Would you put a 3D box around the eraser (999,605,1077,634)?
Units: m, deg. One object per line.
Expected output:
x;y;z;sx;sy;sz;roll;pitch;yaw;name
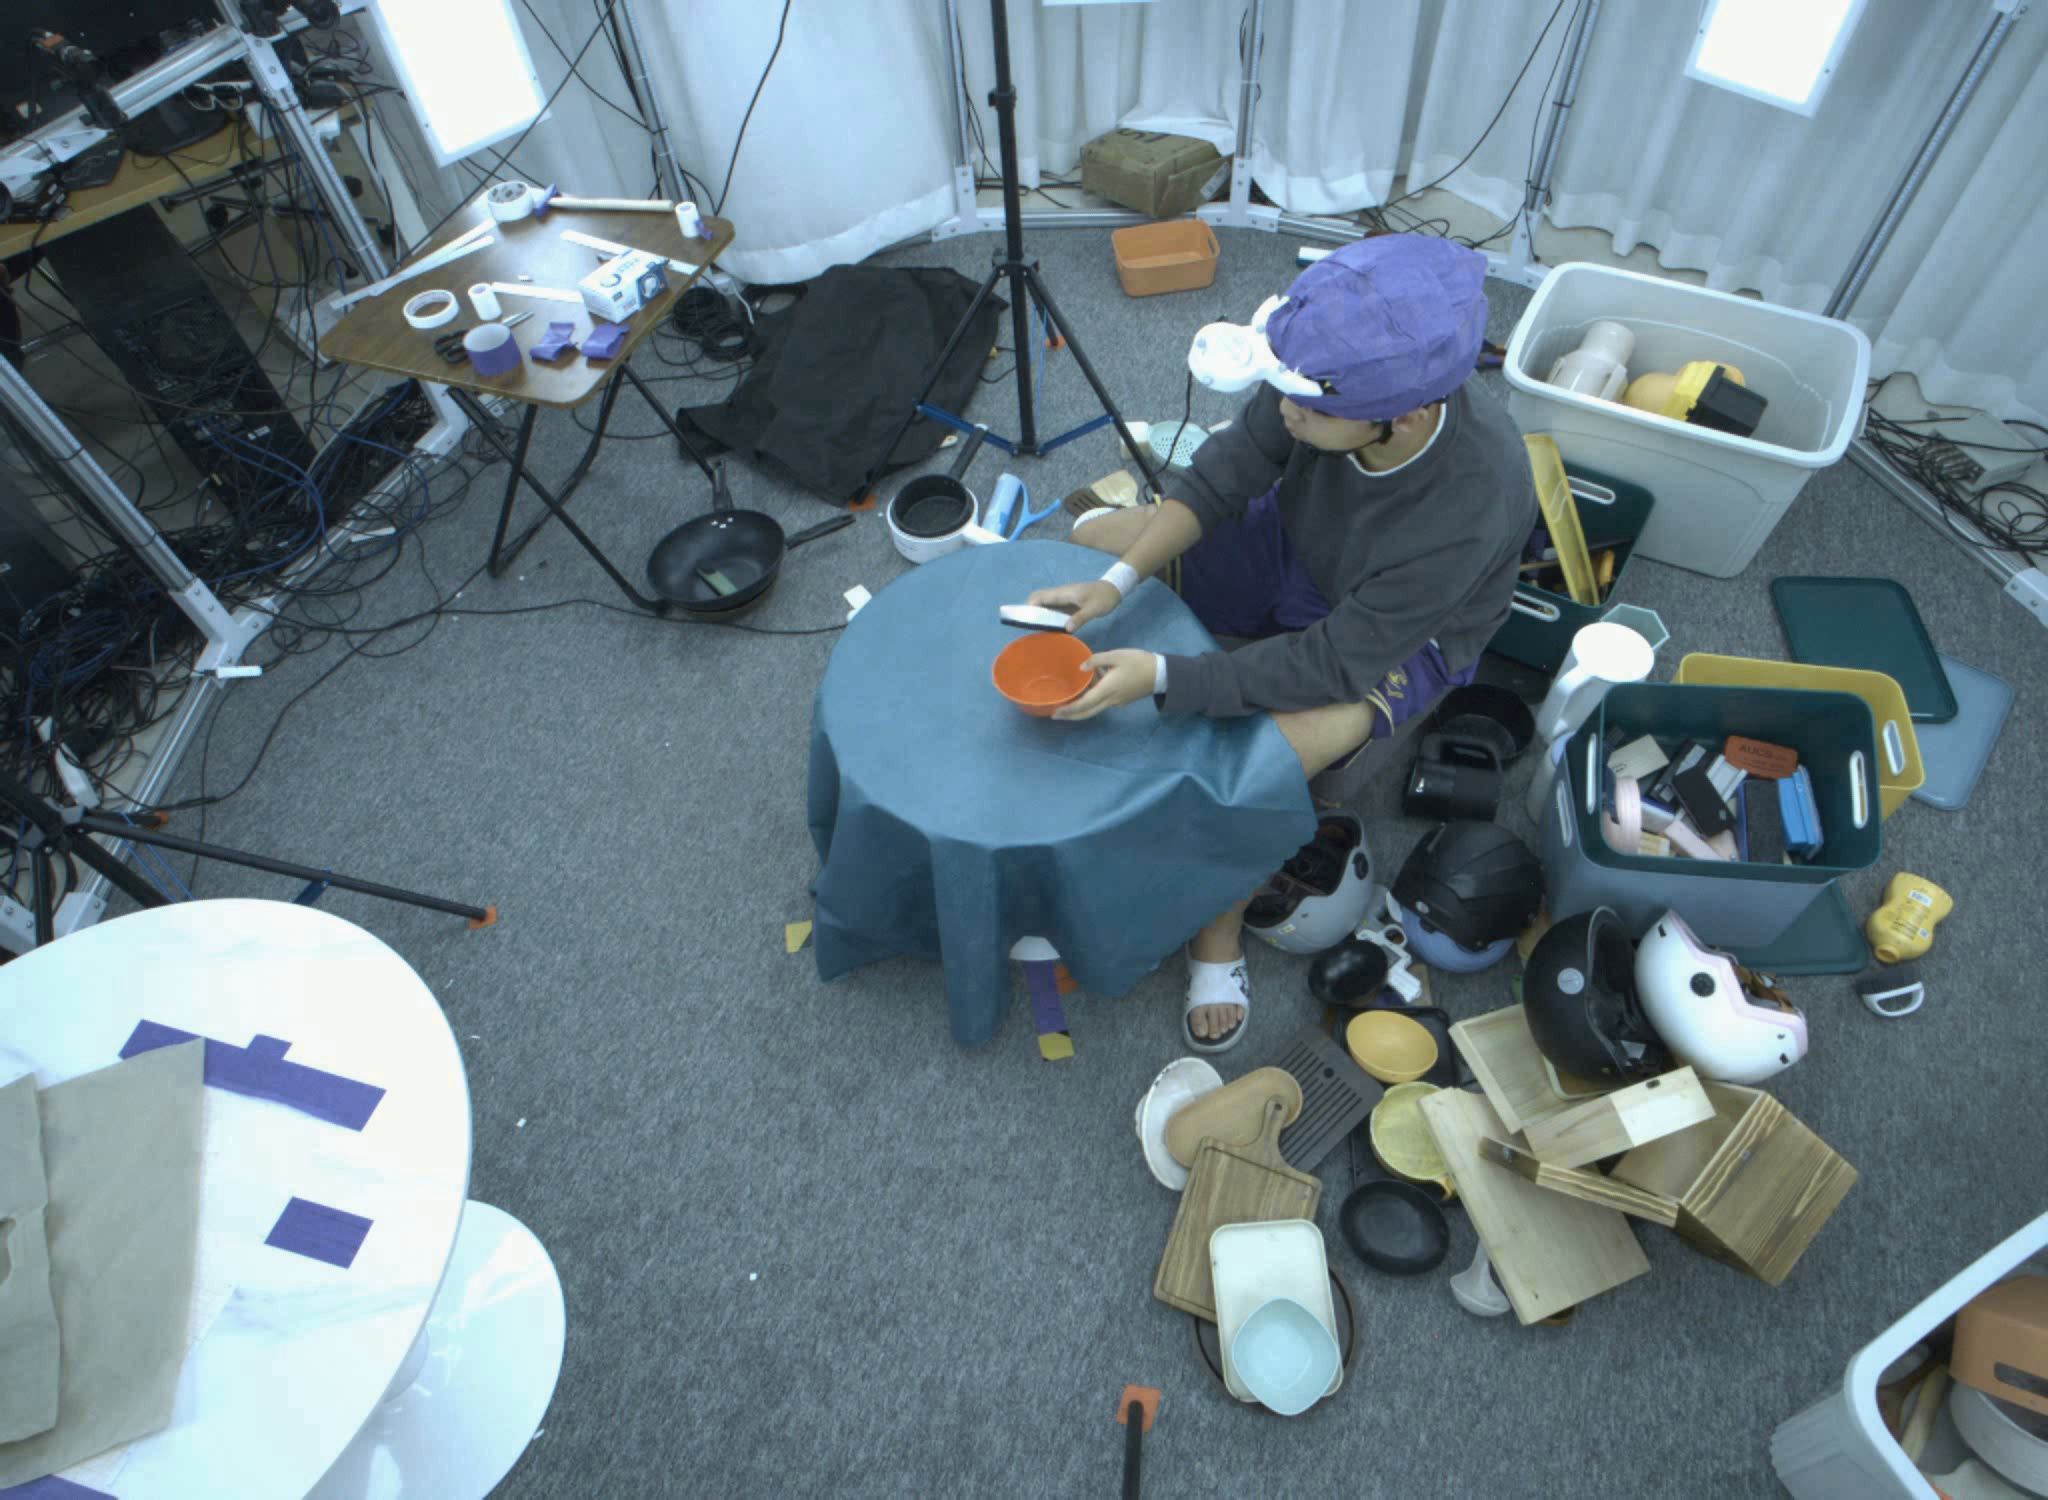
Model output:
0.021;-0.192;1.795;0.062;0.034;0.134;18;13;35;eraser

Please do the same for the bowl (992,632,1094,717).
0.030;-0.095;1.793;0.148;0.106;0.146;-1;58;3;bowl
